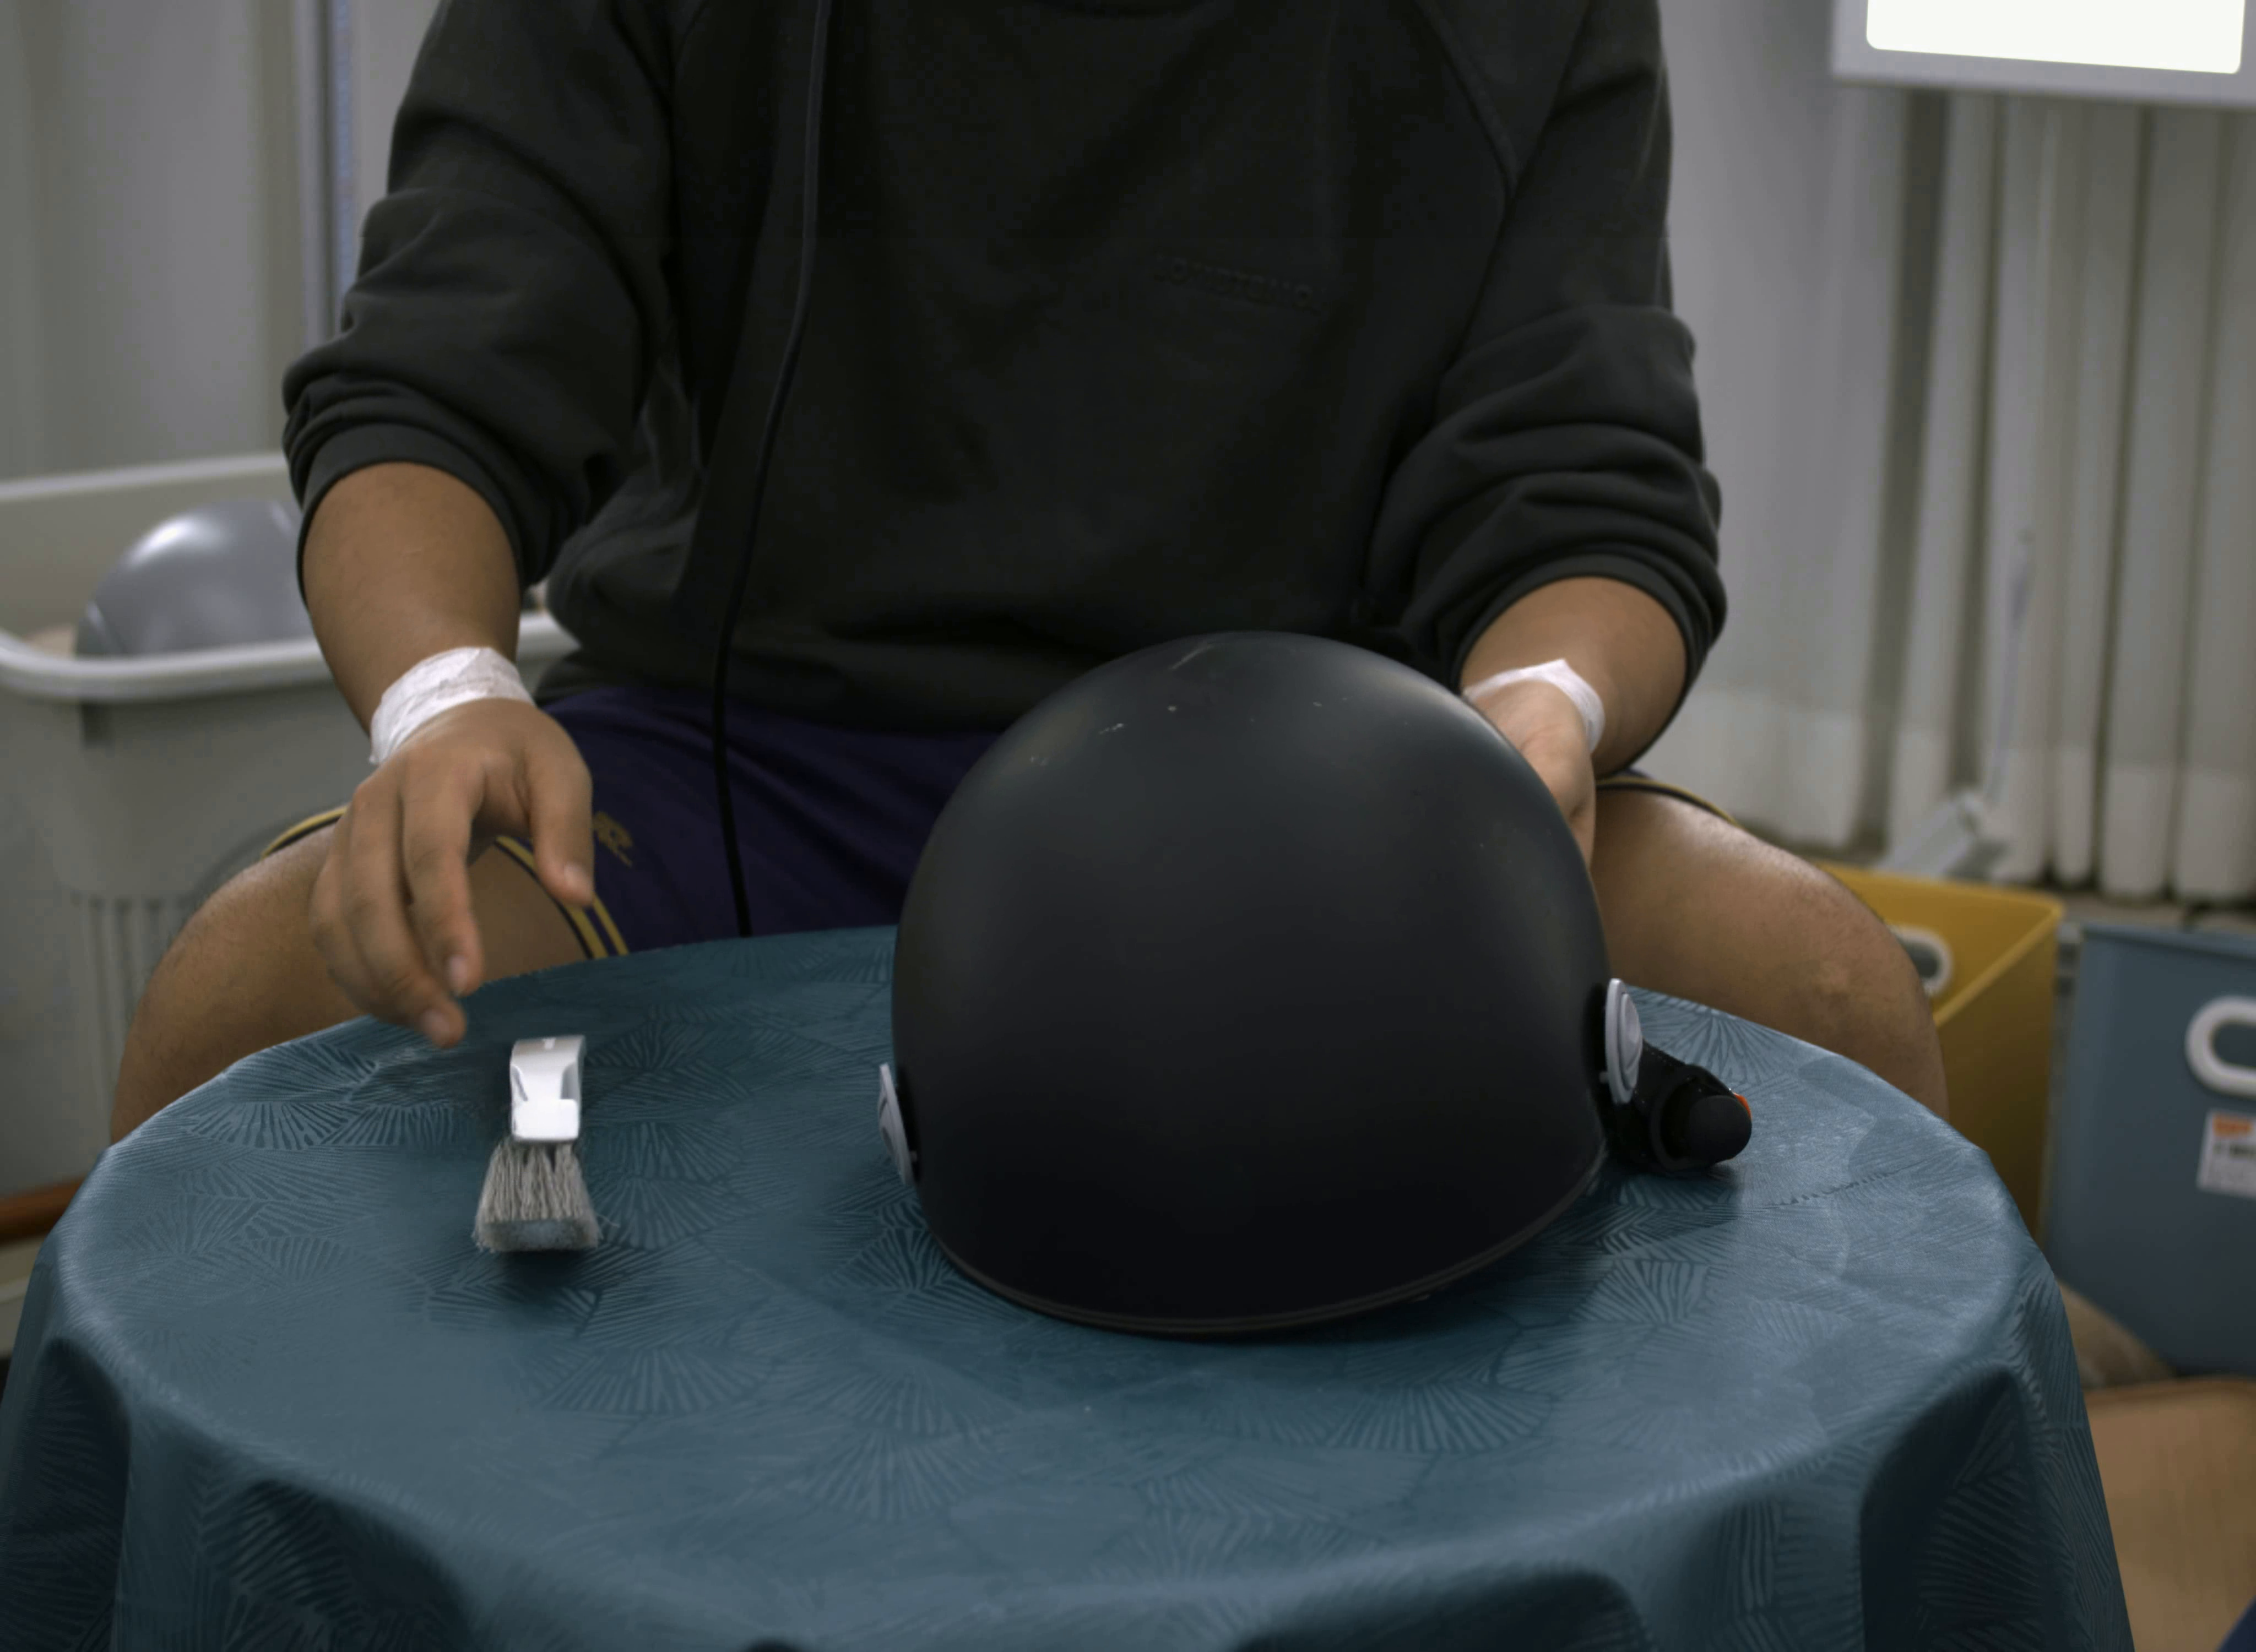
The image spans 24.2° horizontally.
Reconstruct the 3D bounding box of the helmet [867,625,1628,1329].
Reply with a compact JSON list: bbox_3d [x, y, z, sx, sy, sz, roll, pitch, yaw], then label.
[{"bbox_3d":[0.033,0.031,1.593,0.229,0.168,0.271,-7,19,7],"label":"helmet"}]

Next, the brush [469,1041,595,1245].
[{"bbox_3d":[-0.182,0.097,1.627,0.034,0.050,0.243,-5,3,-5],"label":"brush"}]
